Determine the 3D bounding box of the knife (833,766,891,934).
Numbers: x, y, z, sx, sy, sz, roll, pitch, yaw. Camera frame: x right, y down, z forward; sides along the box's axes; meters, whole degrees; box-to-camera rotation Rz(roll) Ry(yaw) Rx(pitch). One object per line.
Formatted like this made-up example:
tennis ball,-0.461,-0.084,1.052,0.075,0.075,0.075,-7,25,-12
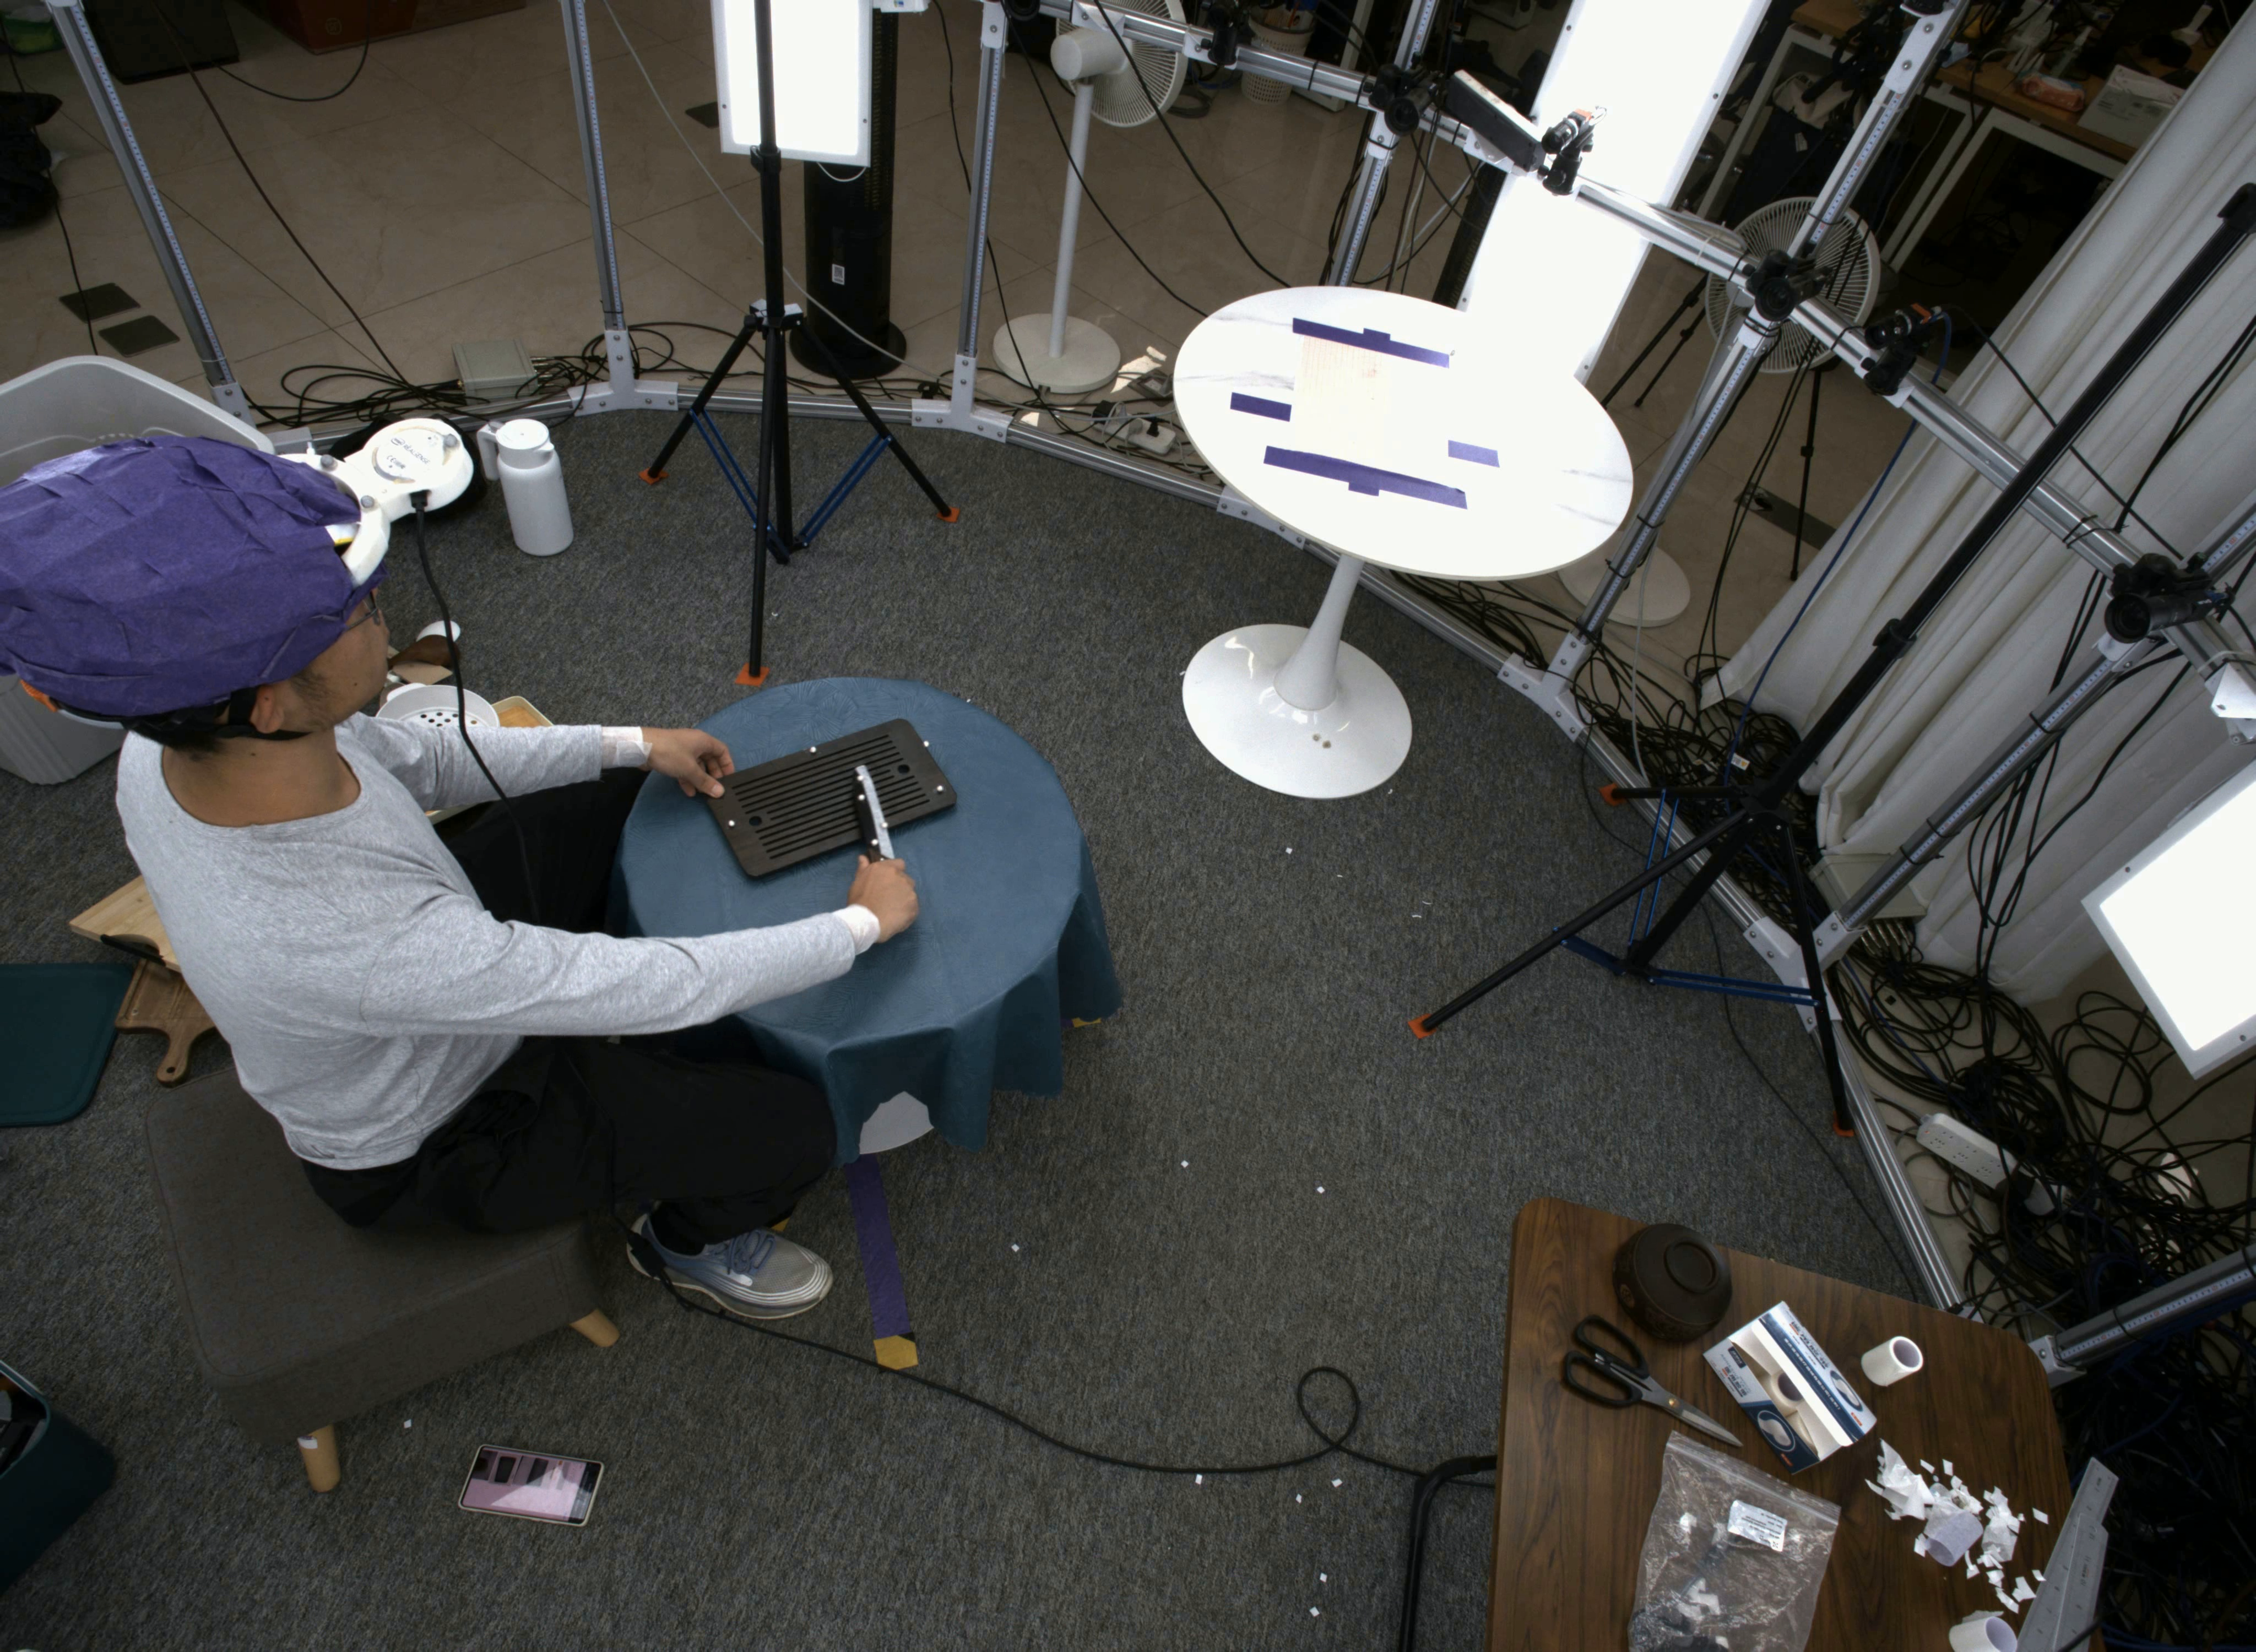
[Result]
knife,-0.349,0.024,1.694,0.052,0.020,0.281,27,33,-47

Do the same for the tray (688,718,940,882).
tray,-0.422,-0.039,1.753,0.307,0.019,0.166,-23,63,-27
